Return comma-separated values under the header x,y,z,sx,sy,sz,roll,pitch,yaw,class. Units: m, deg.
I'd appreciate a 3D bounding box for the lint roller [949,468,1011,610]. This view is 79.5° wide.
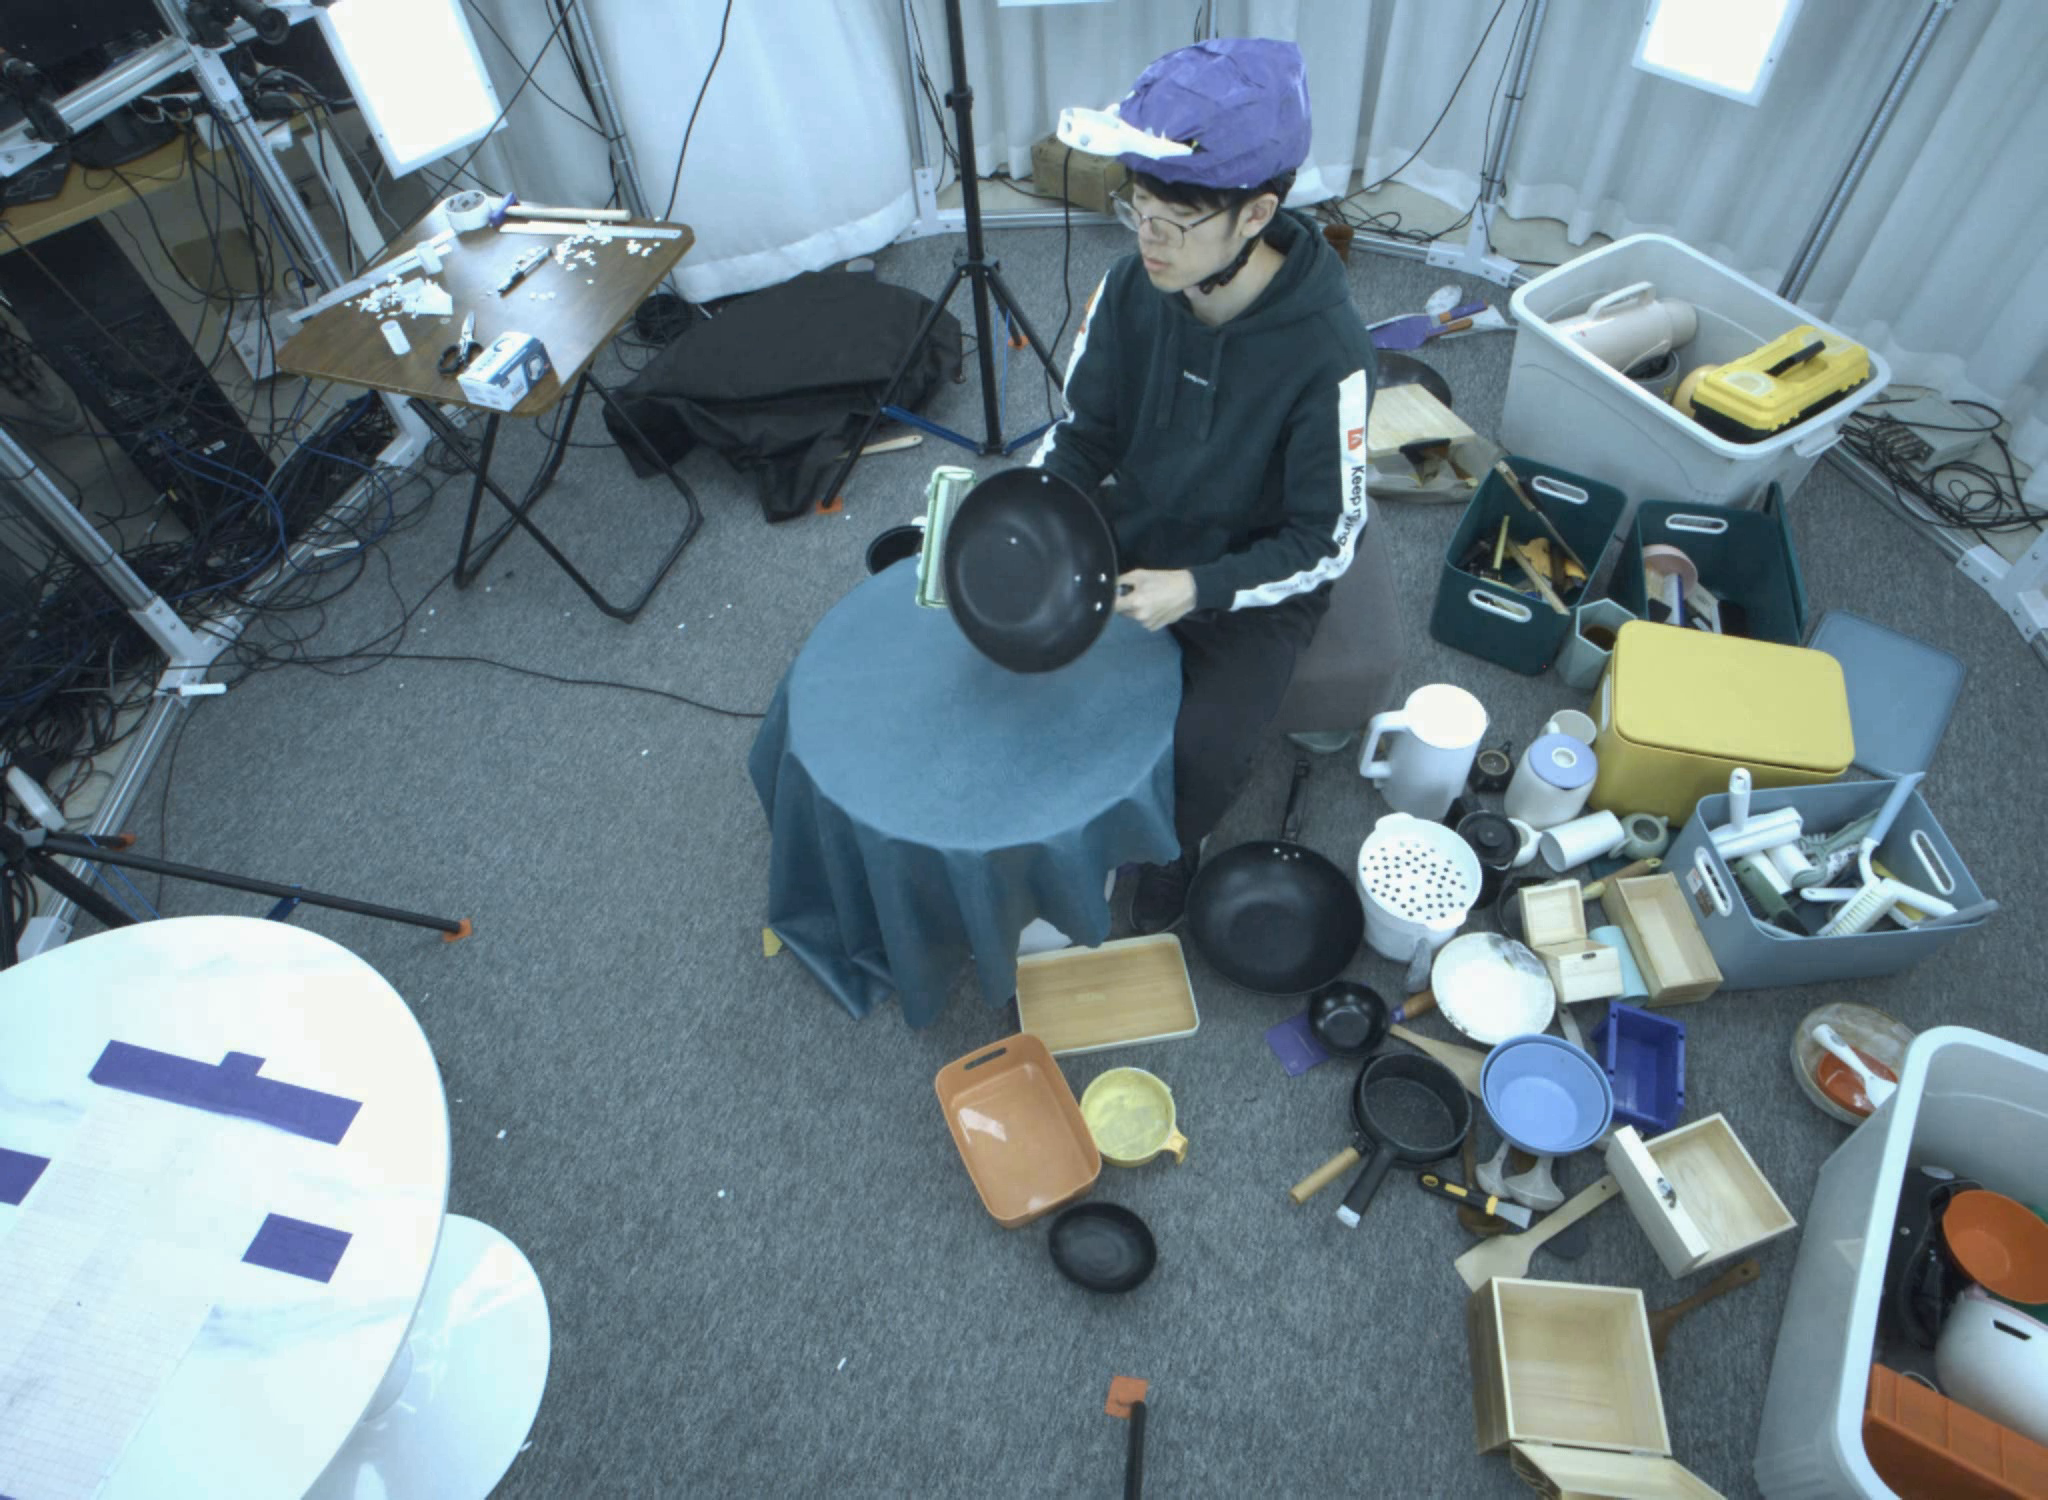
x,y,z,sx,sy,sz,roll,pitch,yaw,class
-0.043,-0.309,1.744,0.081,0.199,0.185,20,25,23,lint roller

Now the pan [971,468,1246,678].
x,y,z,sx,sy,sz,roll,pitch,yaw,class
0.115,-0.227,1.738,0.473,0.085,0.288,10,88,-31,pan
